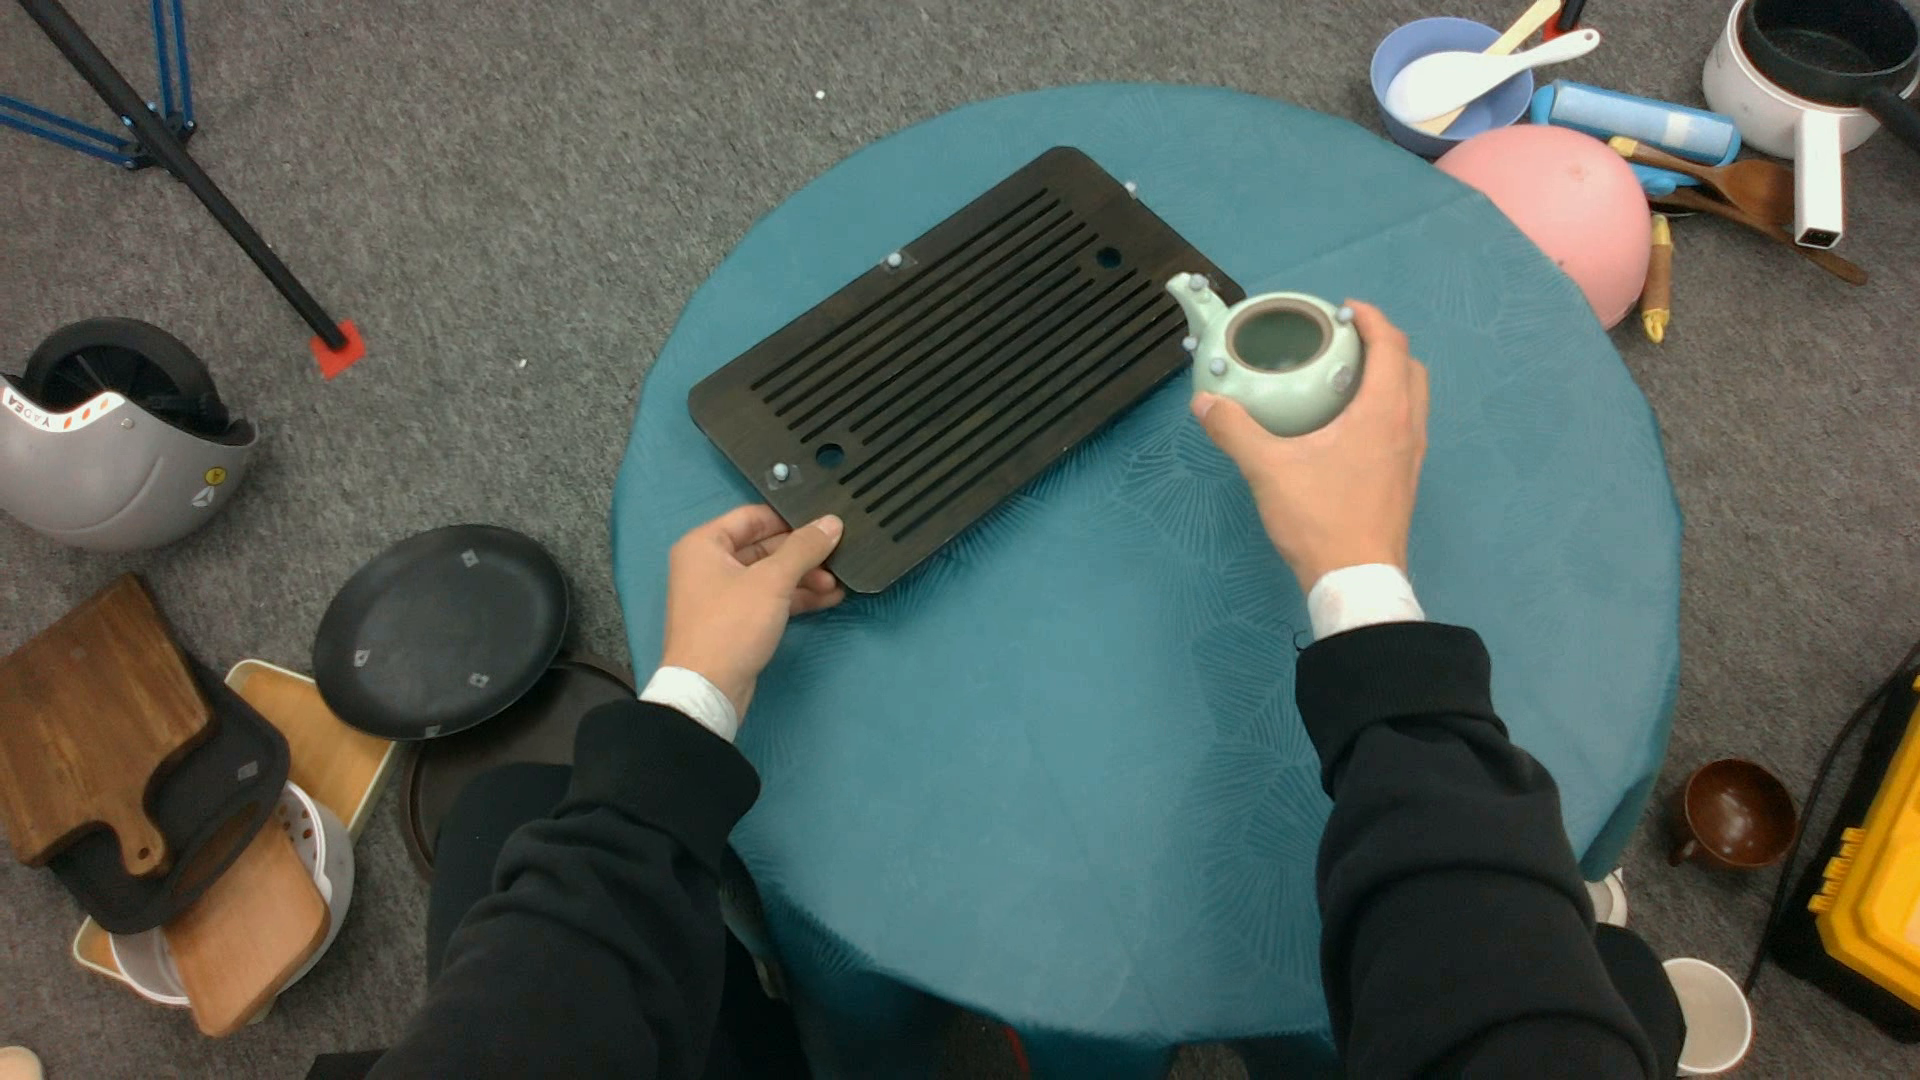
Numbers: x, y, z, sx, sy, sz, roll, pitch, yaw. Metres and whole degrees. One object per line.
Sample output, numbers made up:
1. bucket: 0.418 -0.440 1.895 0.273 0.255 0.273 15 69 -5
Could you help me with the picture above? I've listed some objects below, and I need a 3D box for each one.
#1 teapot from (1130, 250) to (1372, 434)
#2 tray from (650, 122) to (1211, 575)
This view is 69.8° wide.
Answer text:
1. teapot: 0.148 -0.098 0.709 0.088 0.074 0.144 -43 53 -16
2. tray: -0.012 -0.121 0.804 0.307 0.018 0.170 -38 71 -19
